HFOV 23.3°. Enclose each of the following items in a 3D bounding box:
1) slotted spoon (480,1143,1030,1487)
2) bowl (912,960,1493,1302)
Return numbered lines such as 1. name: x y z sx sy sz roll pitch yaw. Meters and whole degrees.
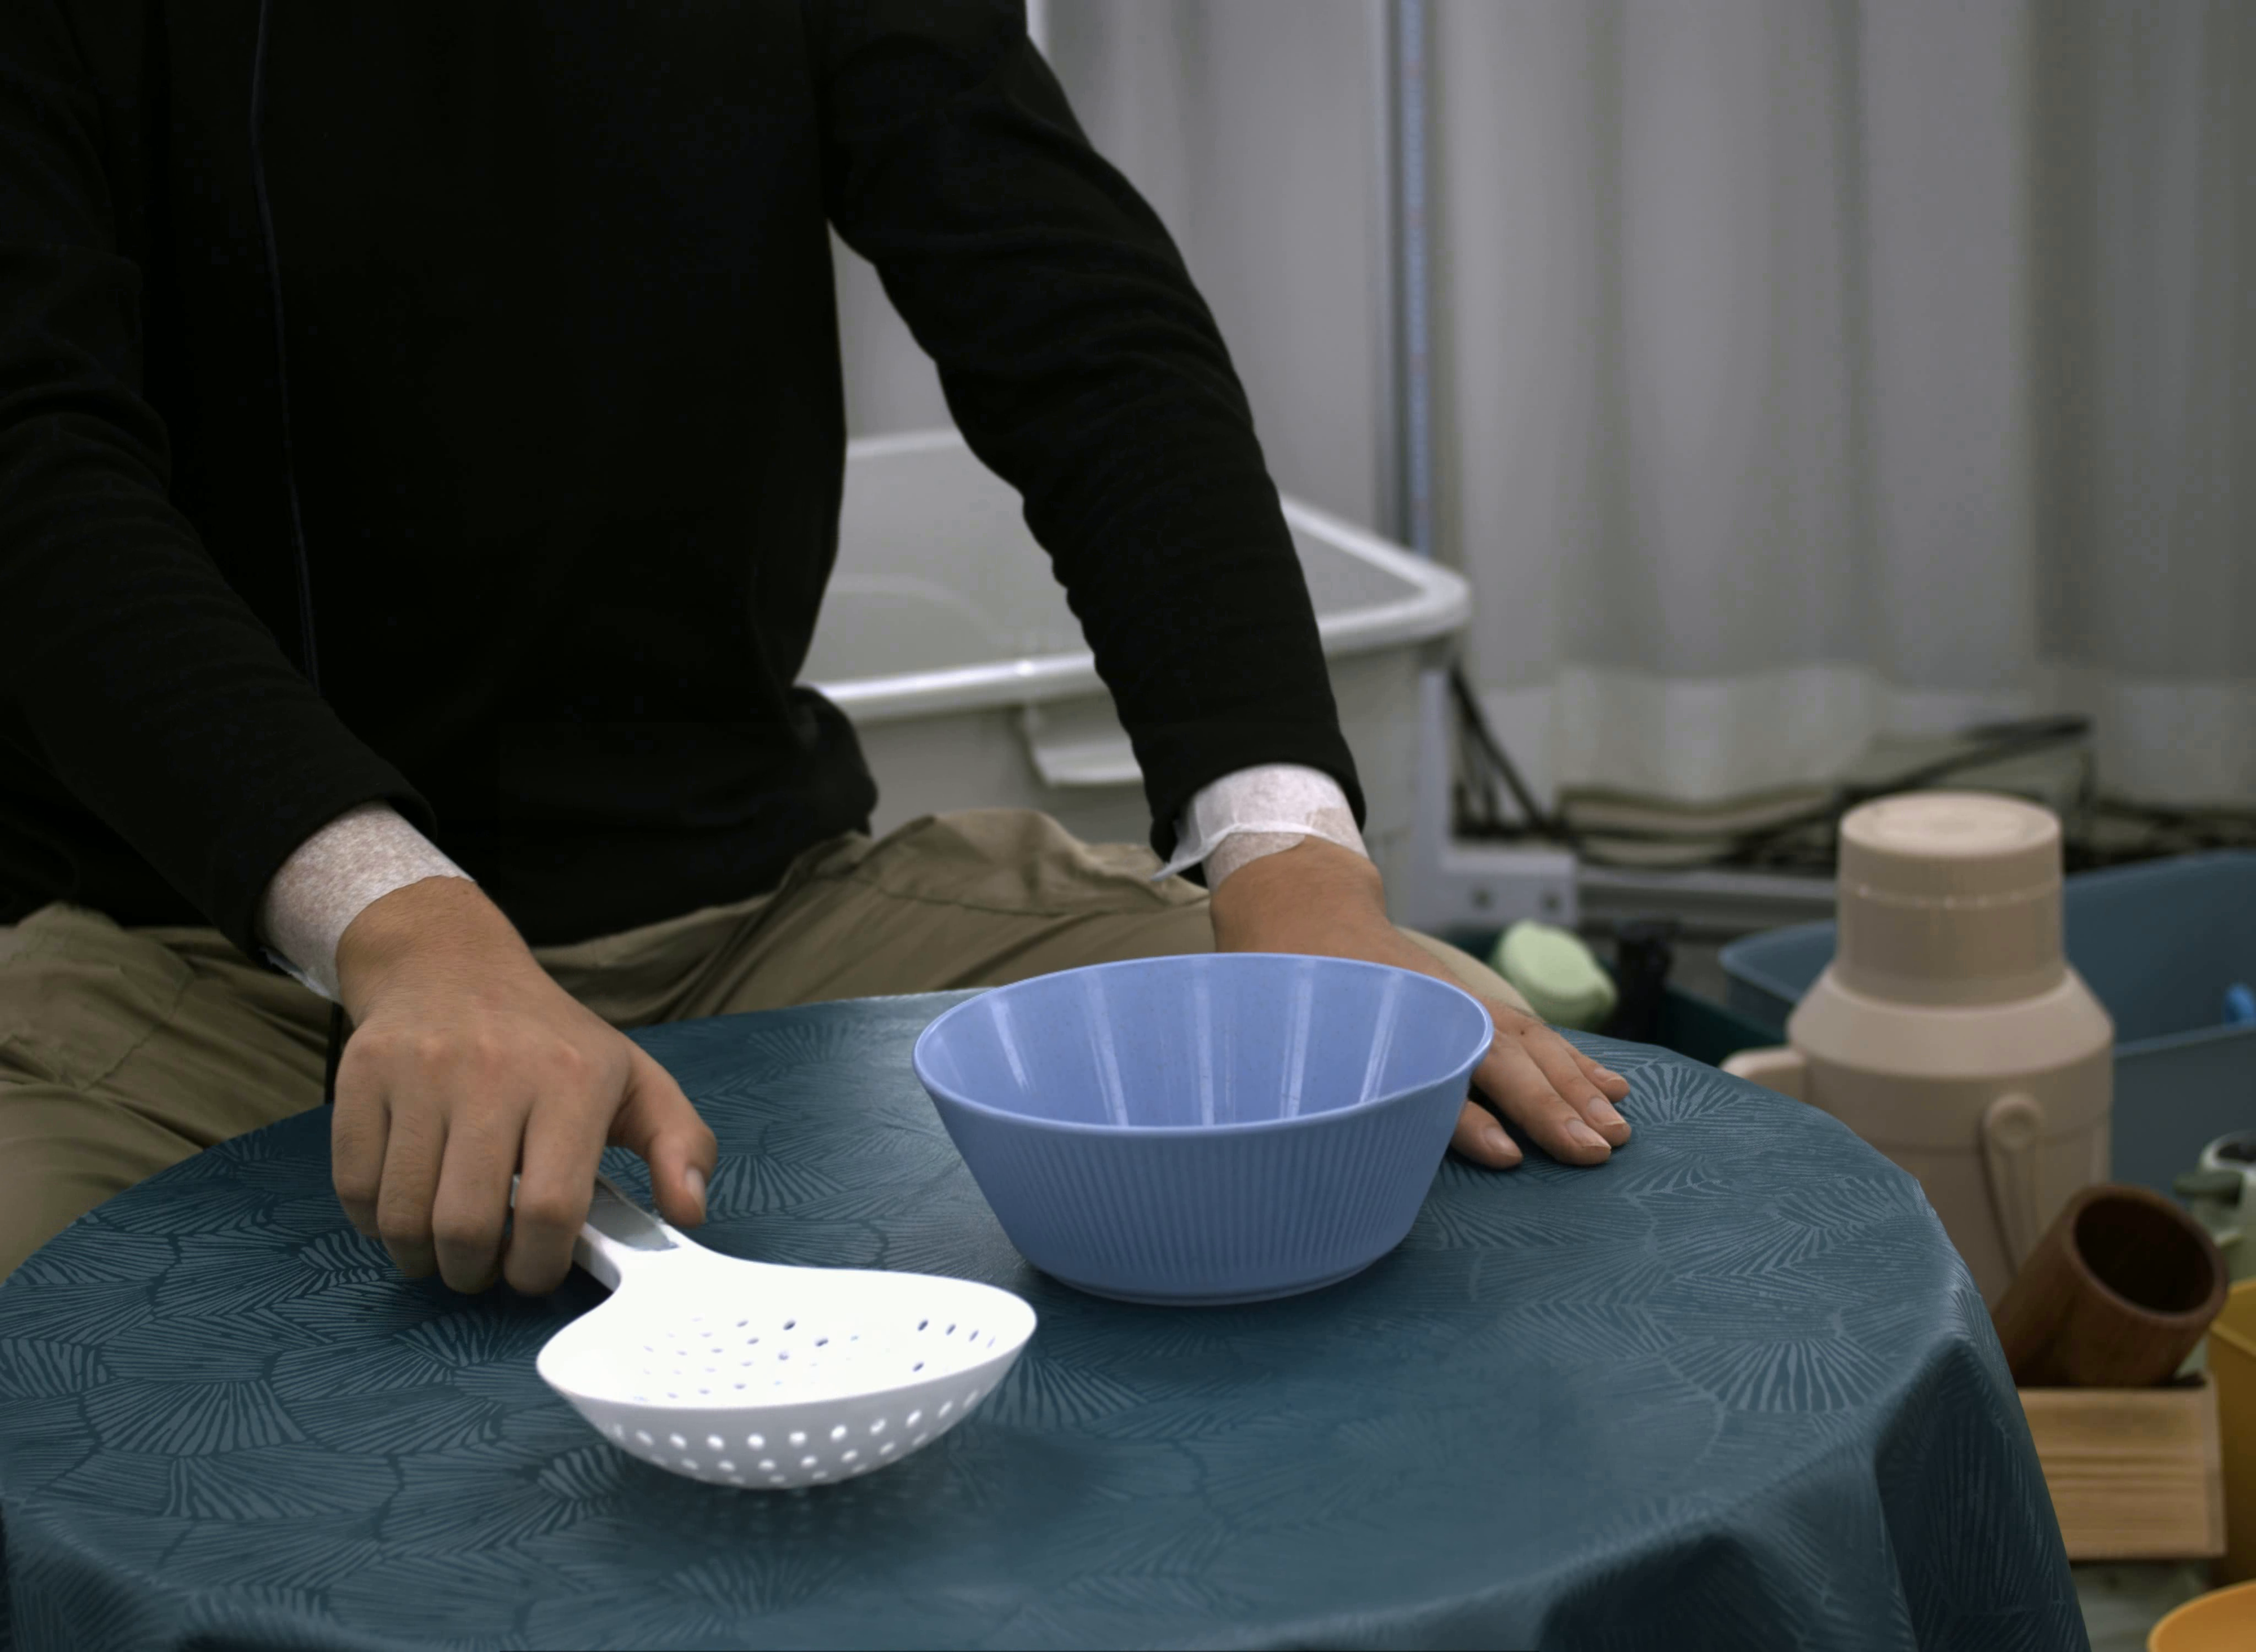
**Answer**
1. slotted spoon: -0.133 0.132 1.586 0.135 0.045 0.352 -9 15 -20
2. bowl: 0.024 0.094 1.652 0.175 0.070 0.177 -3 14 0
